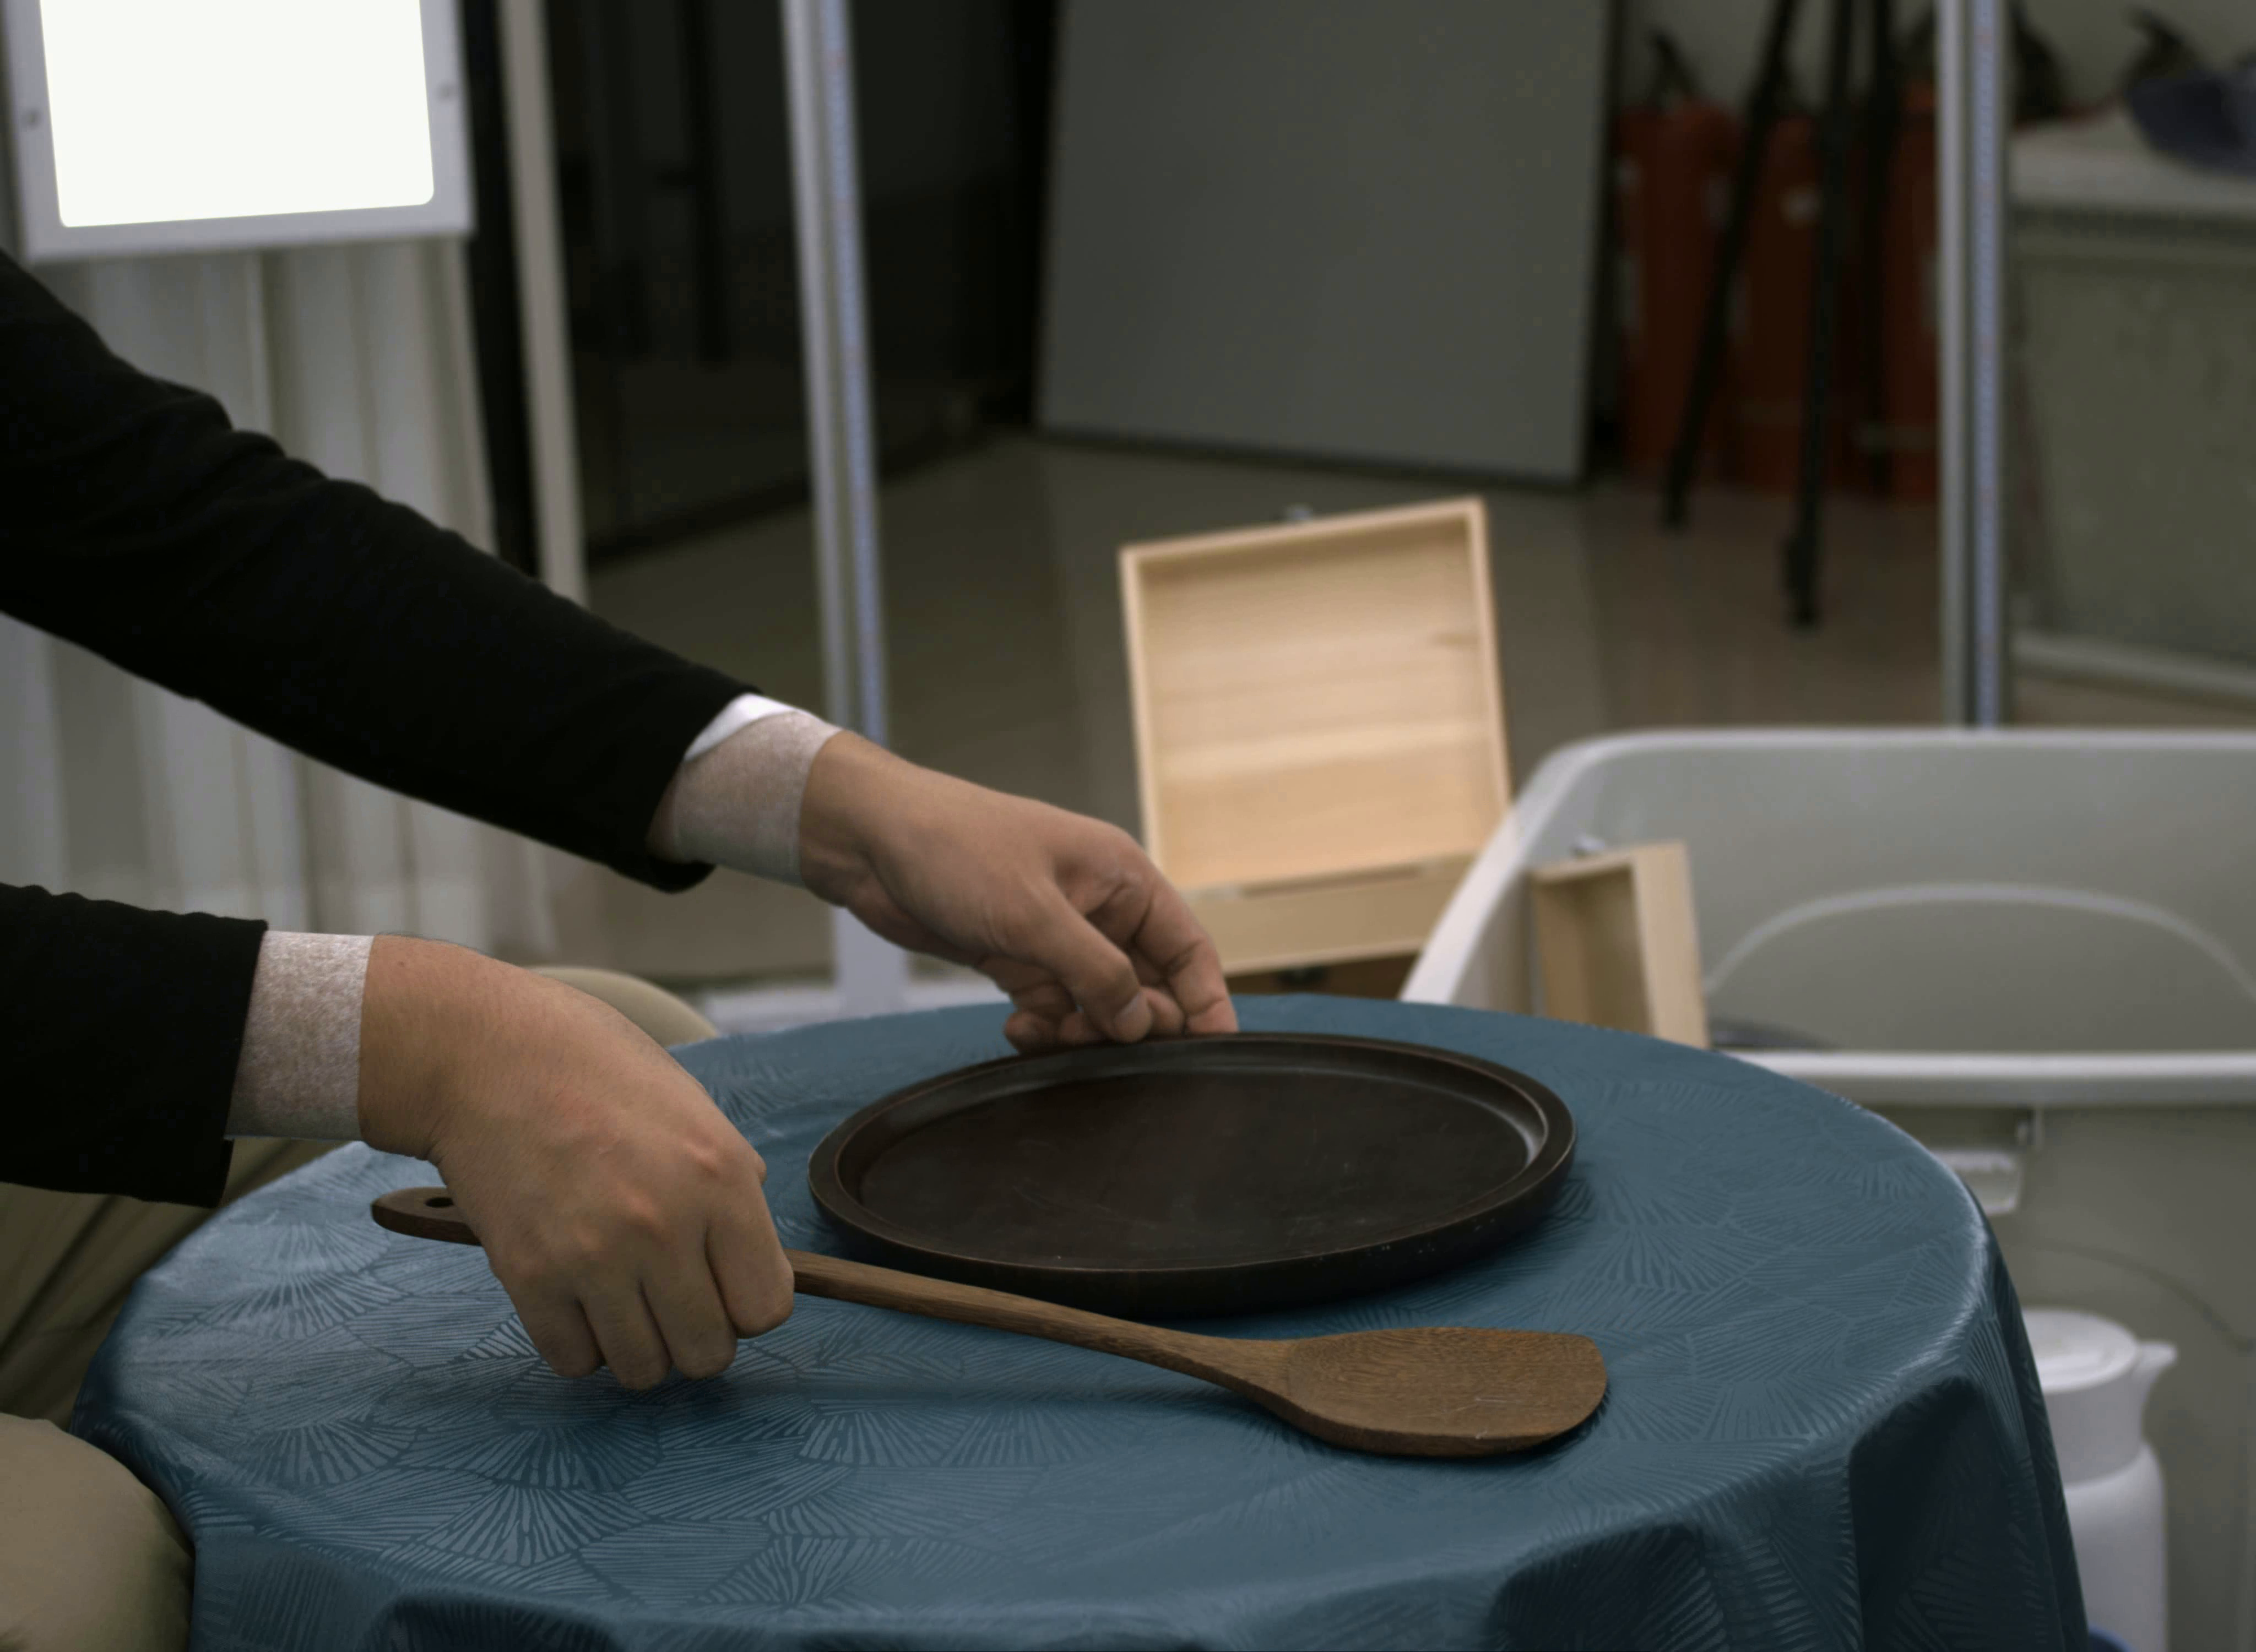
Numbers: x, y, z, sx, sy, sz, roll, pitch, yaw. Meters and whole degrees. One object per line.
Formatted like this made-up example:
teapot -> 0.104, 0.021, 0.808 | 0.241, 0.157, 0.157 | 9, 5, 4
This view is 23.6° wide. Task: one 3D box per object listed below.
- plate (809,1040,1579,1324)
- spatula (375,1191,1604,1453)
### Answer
plate -> 0.022, 0.112, 1.748 | 0.251, 0.029, 0.255 | -4, 15, 0
spatula -> -0.047, 0.142, 1.596 | 0.385, 0.016, 0.095 | 8, 16, 17
